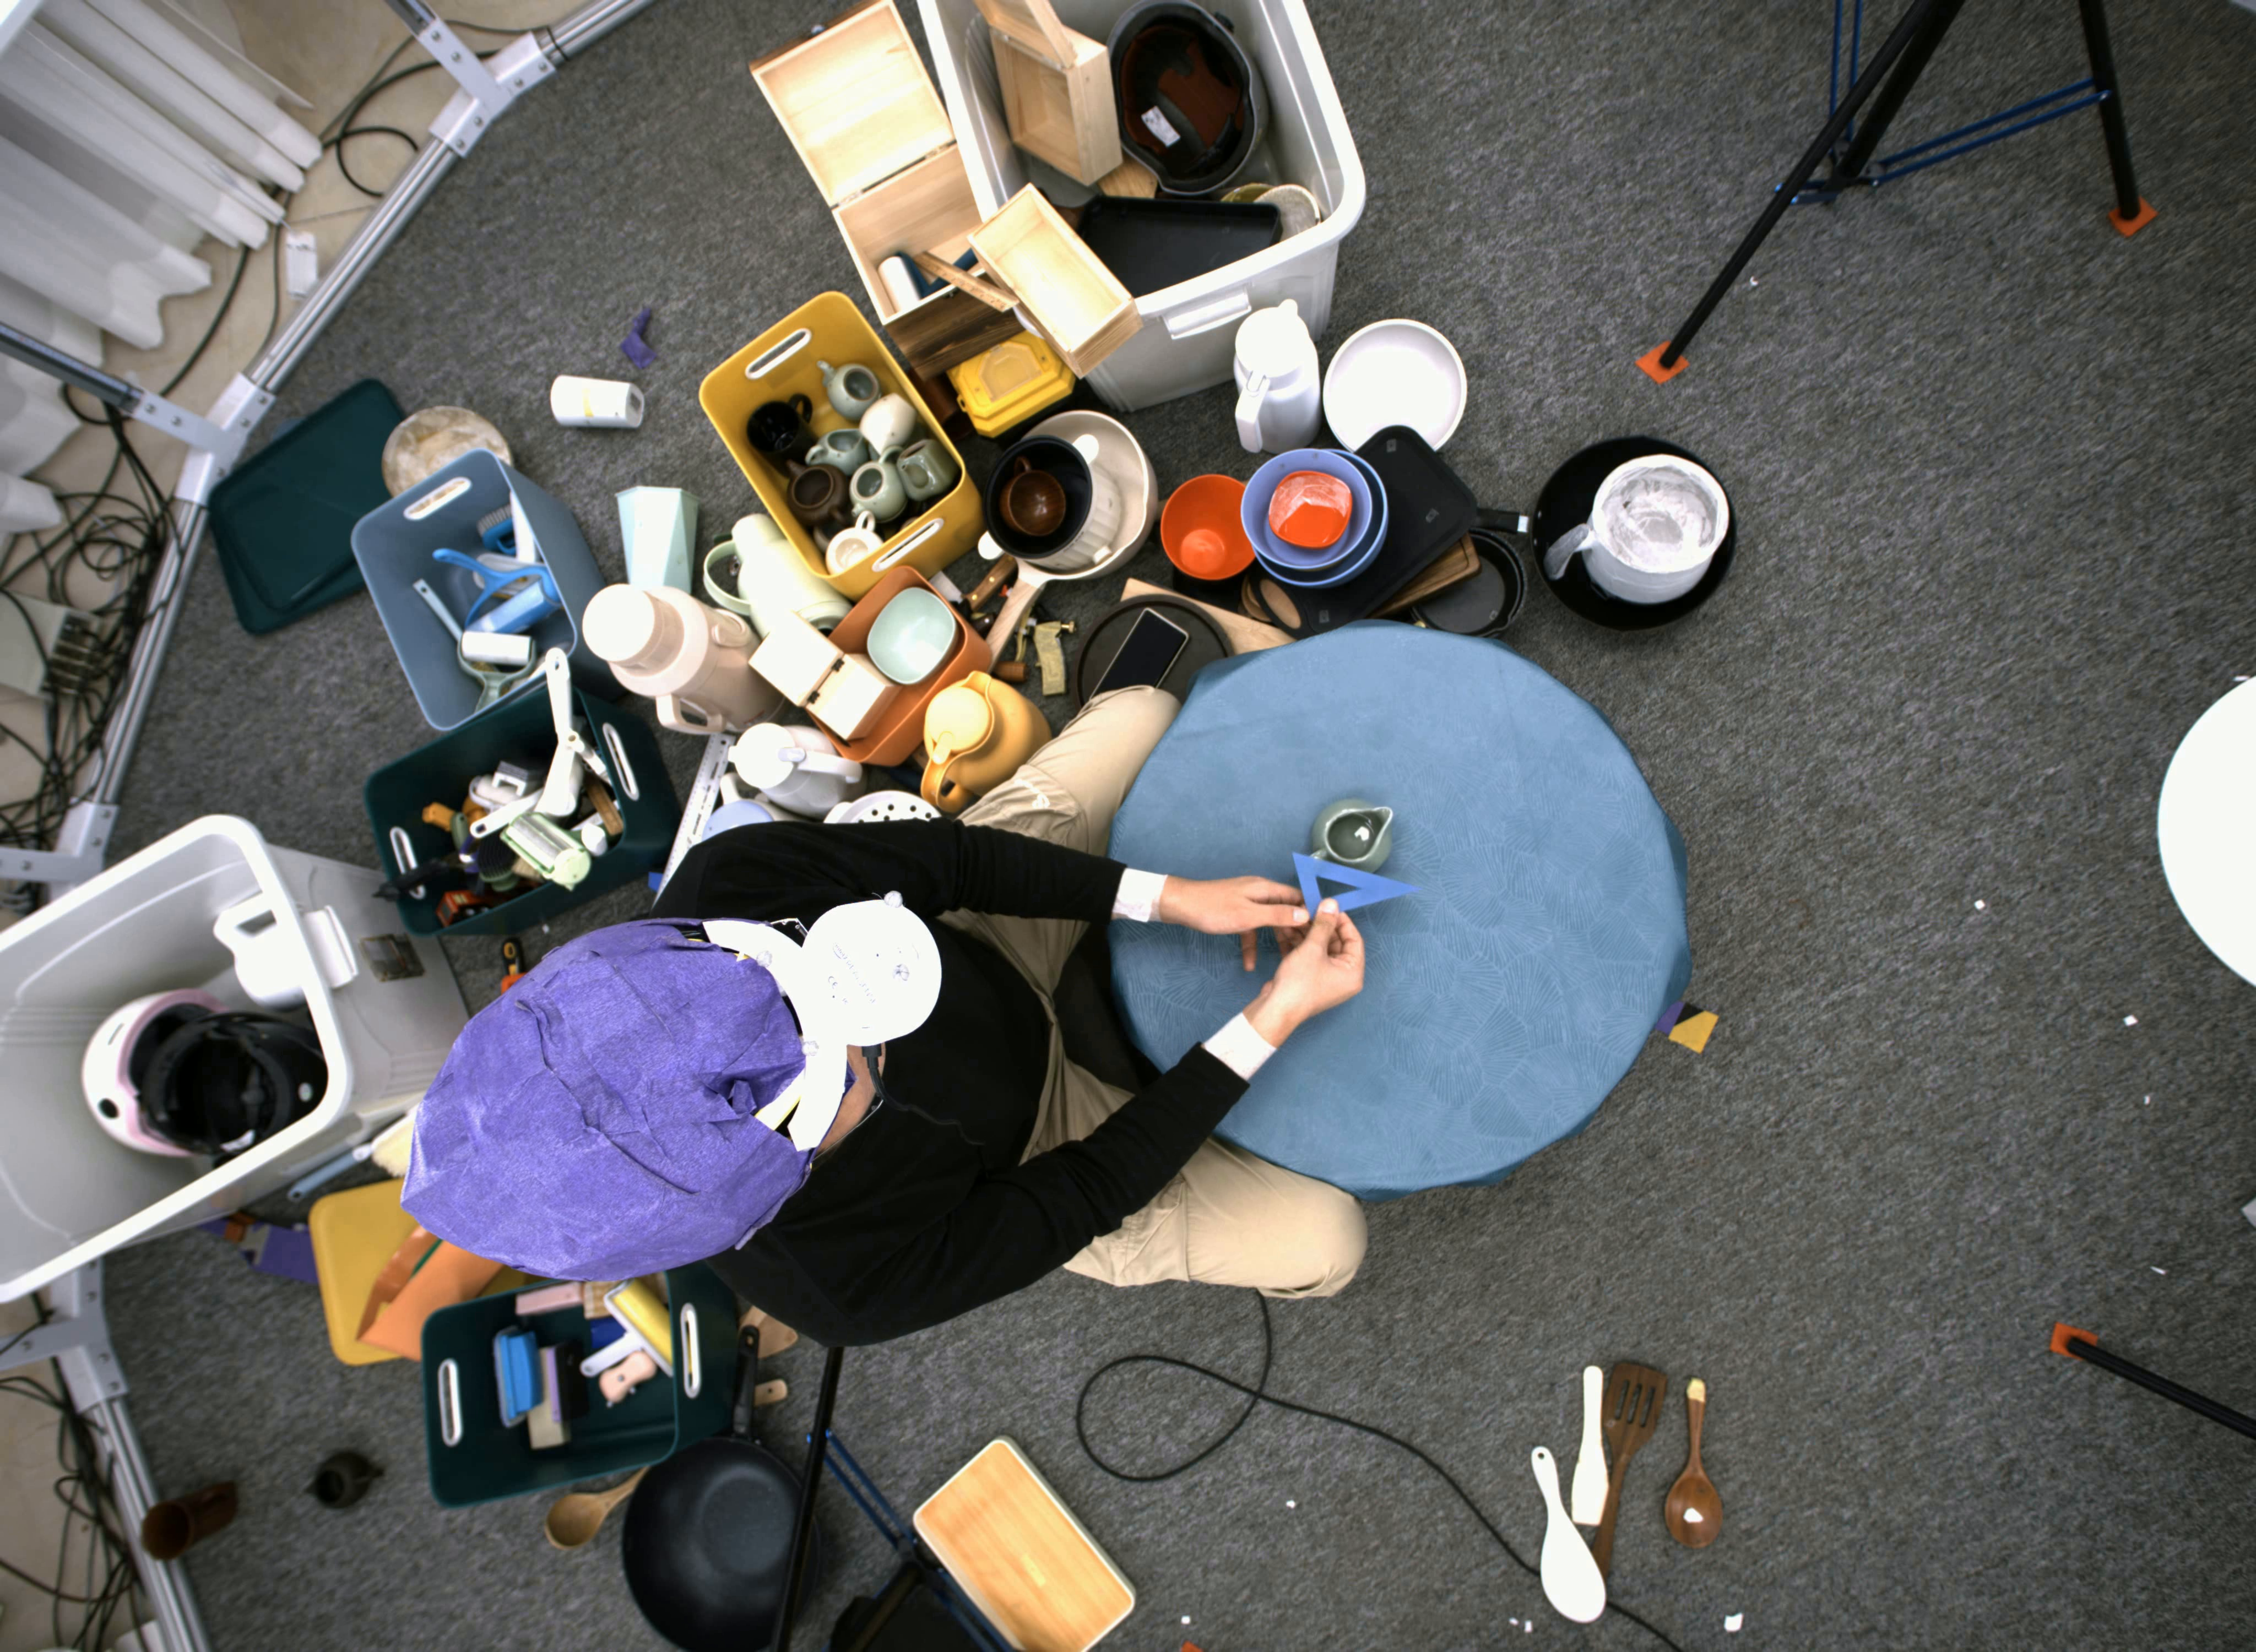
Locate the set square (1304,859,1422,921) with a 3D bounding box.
[{"bbox_3d":[0.232,0.079,1.404,0.132,0.006,0.061,19,88,-2],"label":"set square"}]

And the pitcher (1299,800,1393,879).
[{"bbox_3d":[0.228,0.016,1.443,0.113,0.056,0.083,-34,79,7],"label":"pitcher"}]
